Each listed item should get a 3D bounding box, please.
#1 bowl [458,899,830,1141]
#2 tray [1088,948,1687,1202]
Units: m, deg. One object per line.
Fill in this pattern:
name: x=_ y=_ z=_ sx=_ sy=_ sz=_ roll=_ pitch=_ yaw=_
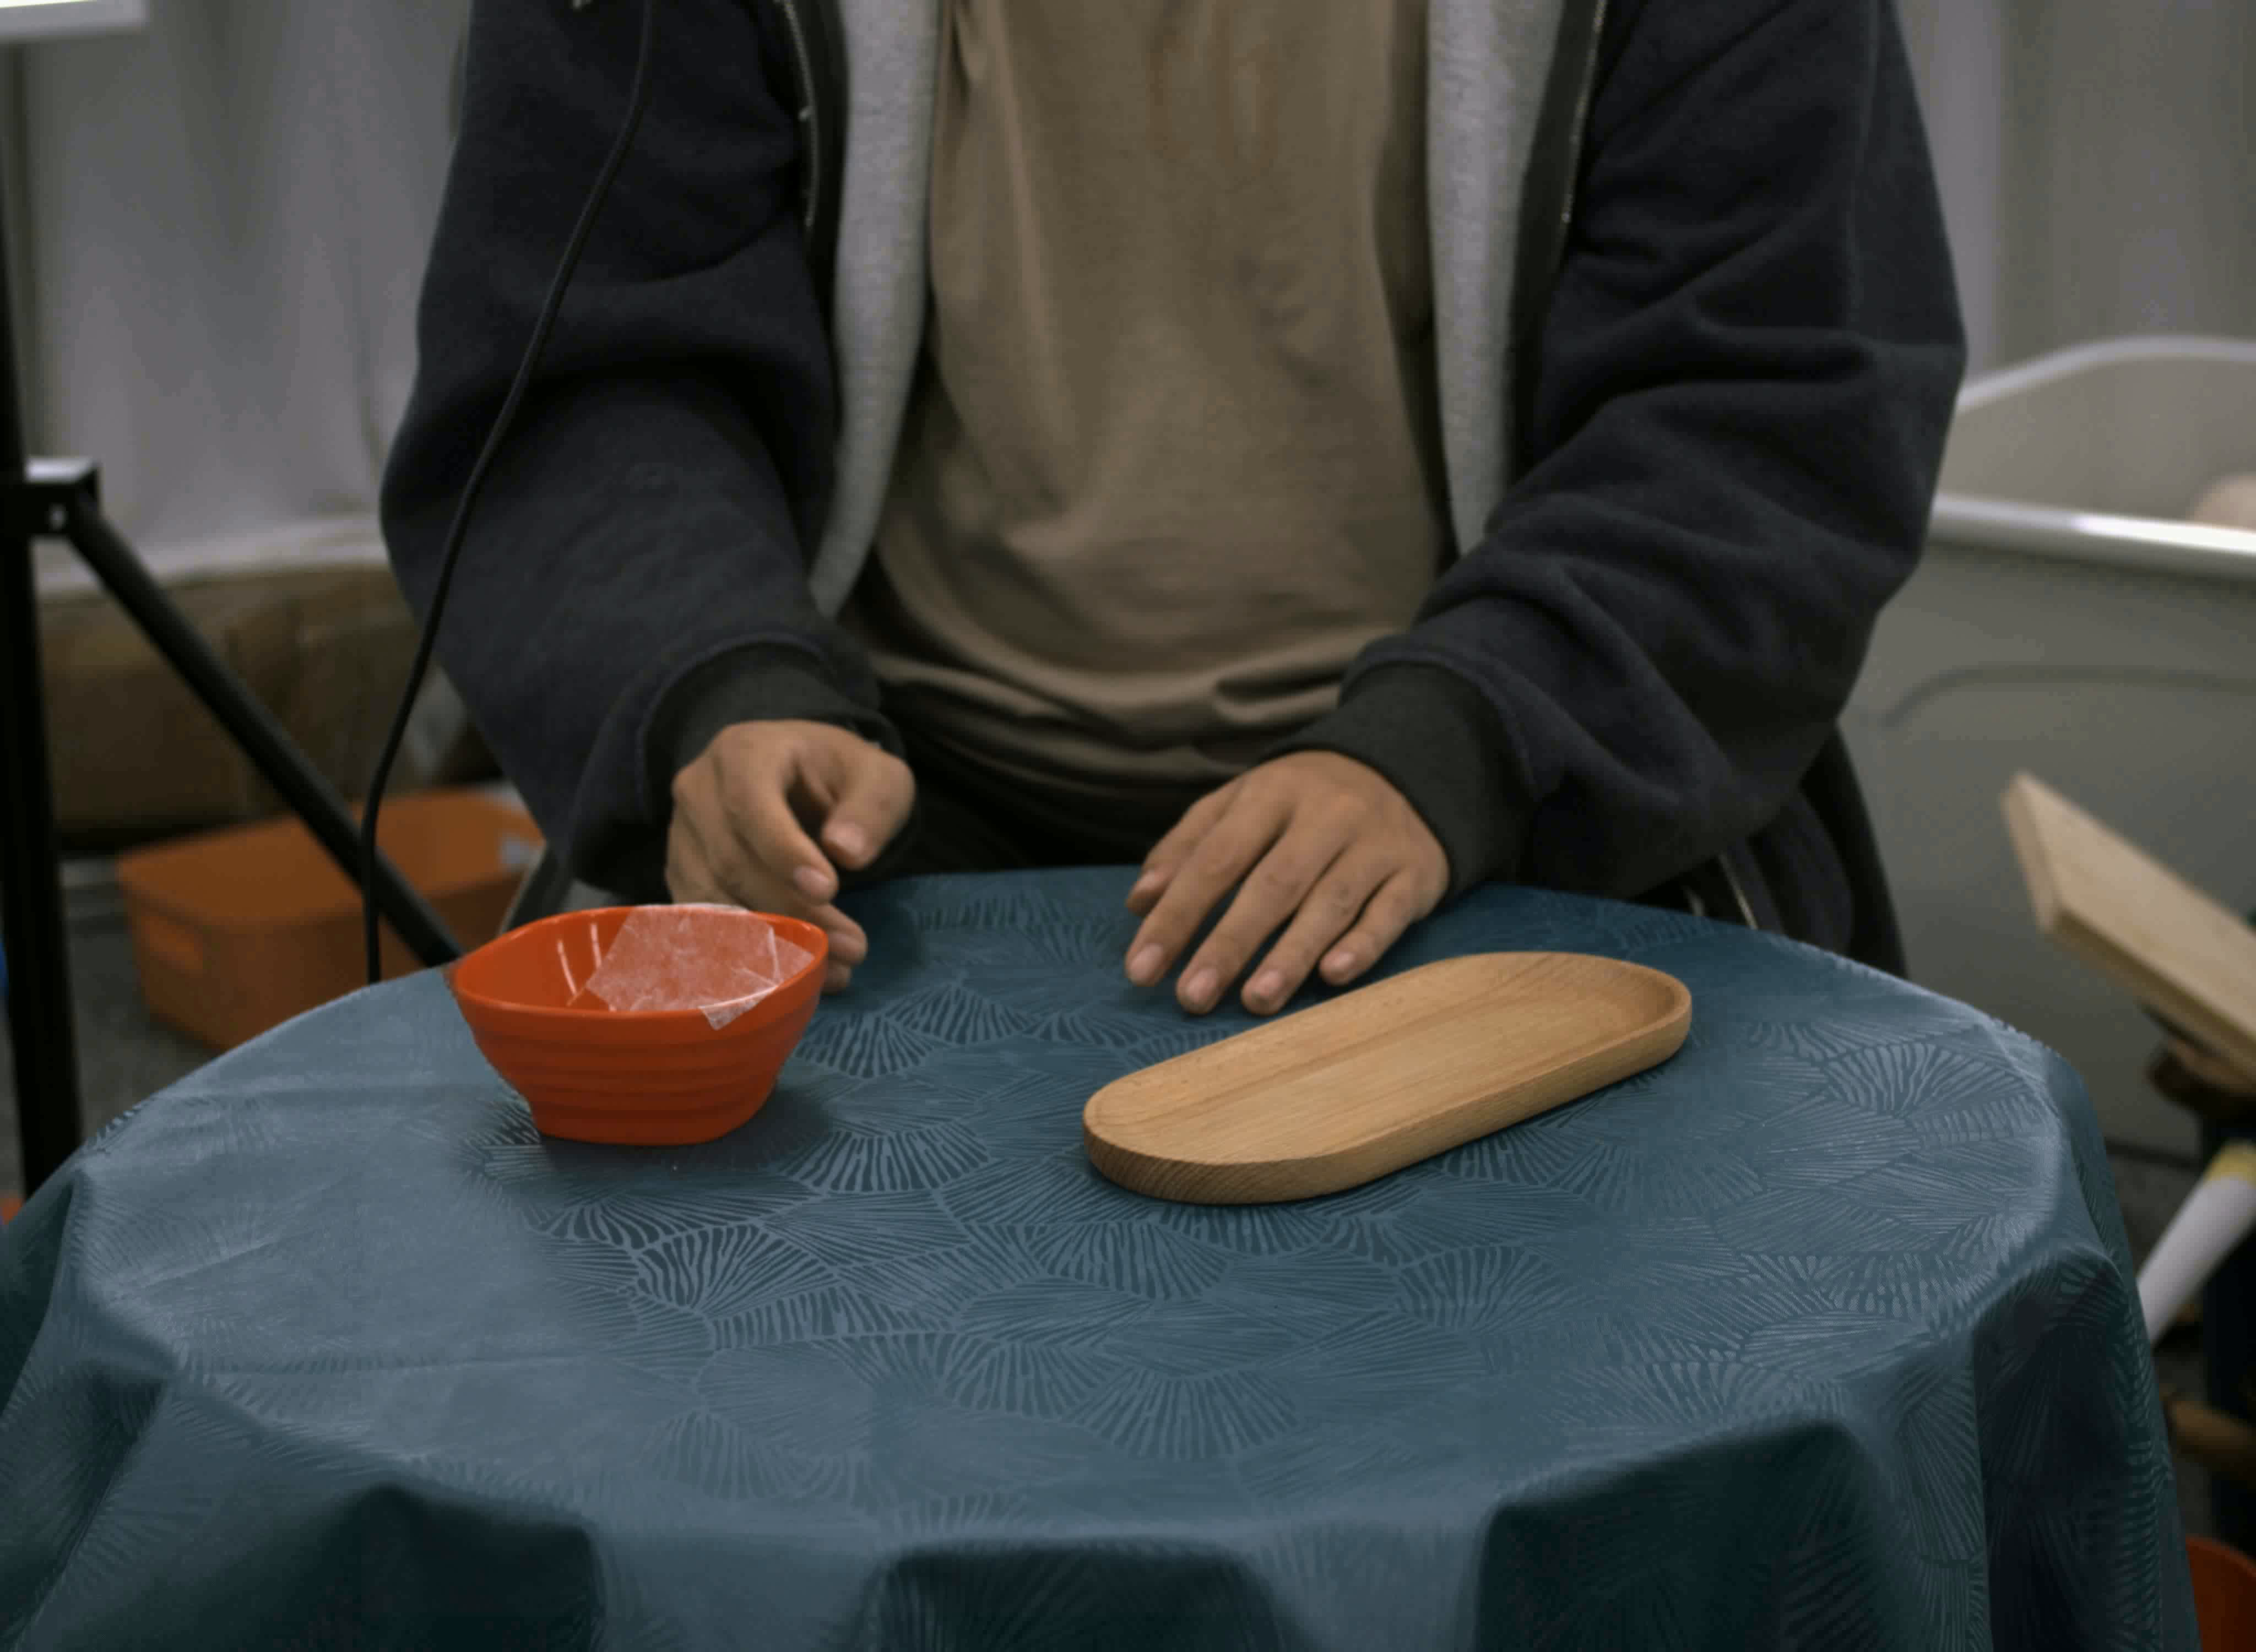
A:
bowl: x=-0.147 y=0.062 z=1.648 sx=0.118 sy=0.051 sz=0.119 roll=-4 pitch=16 yaw=0
tray: x=0.082 y=0.075 z=1.632 sx=0.104 sy=0.020 sz=0.226 roll=13 pitch=21 yaw=42
